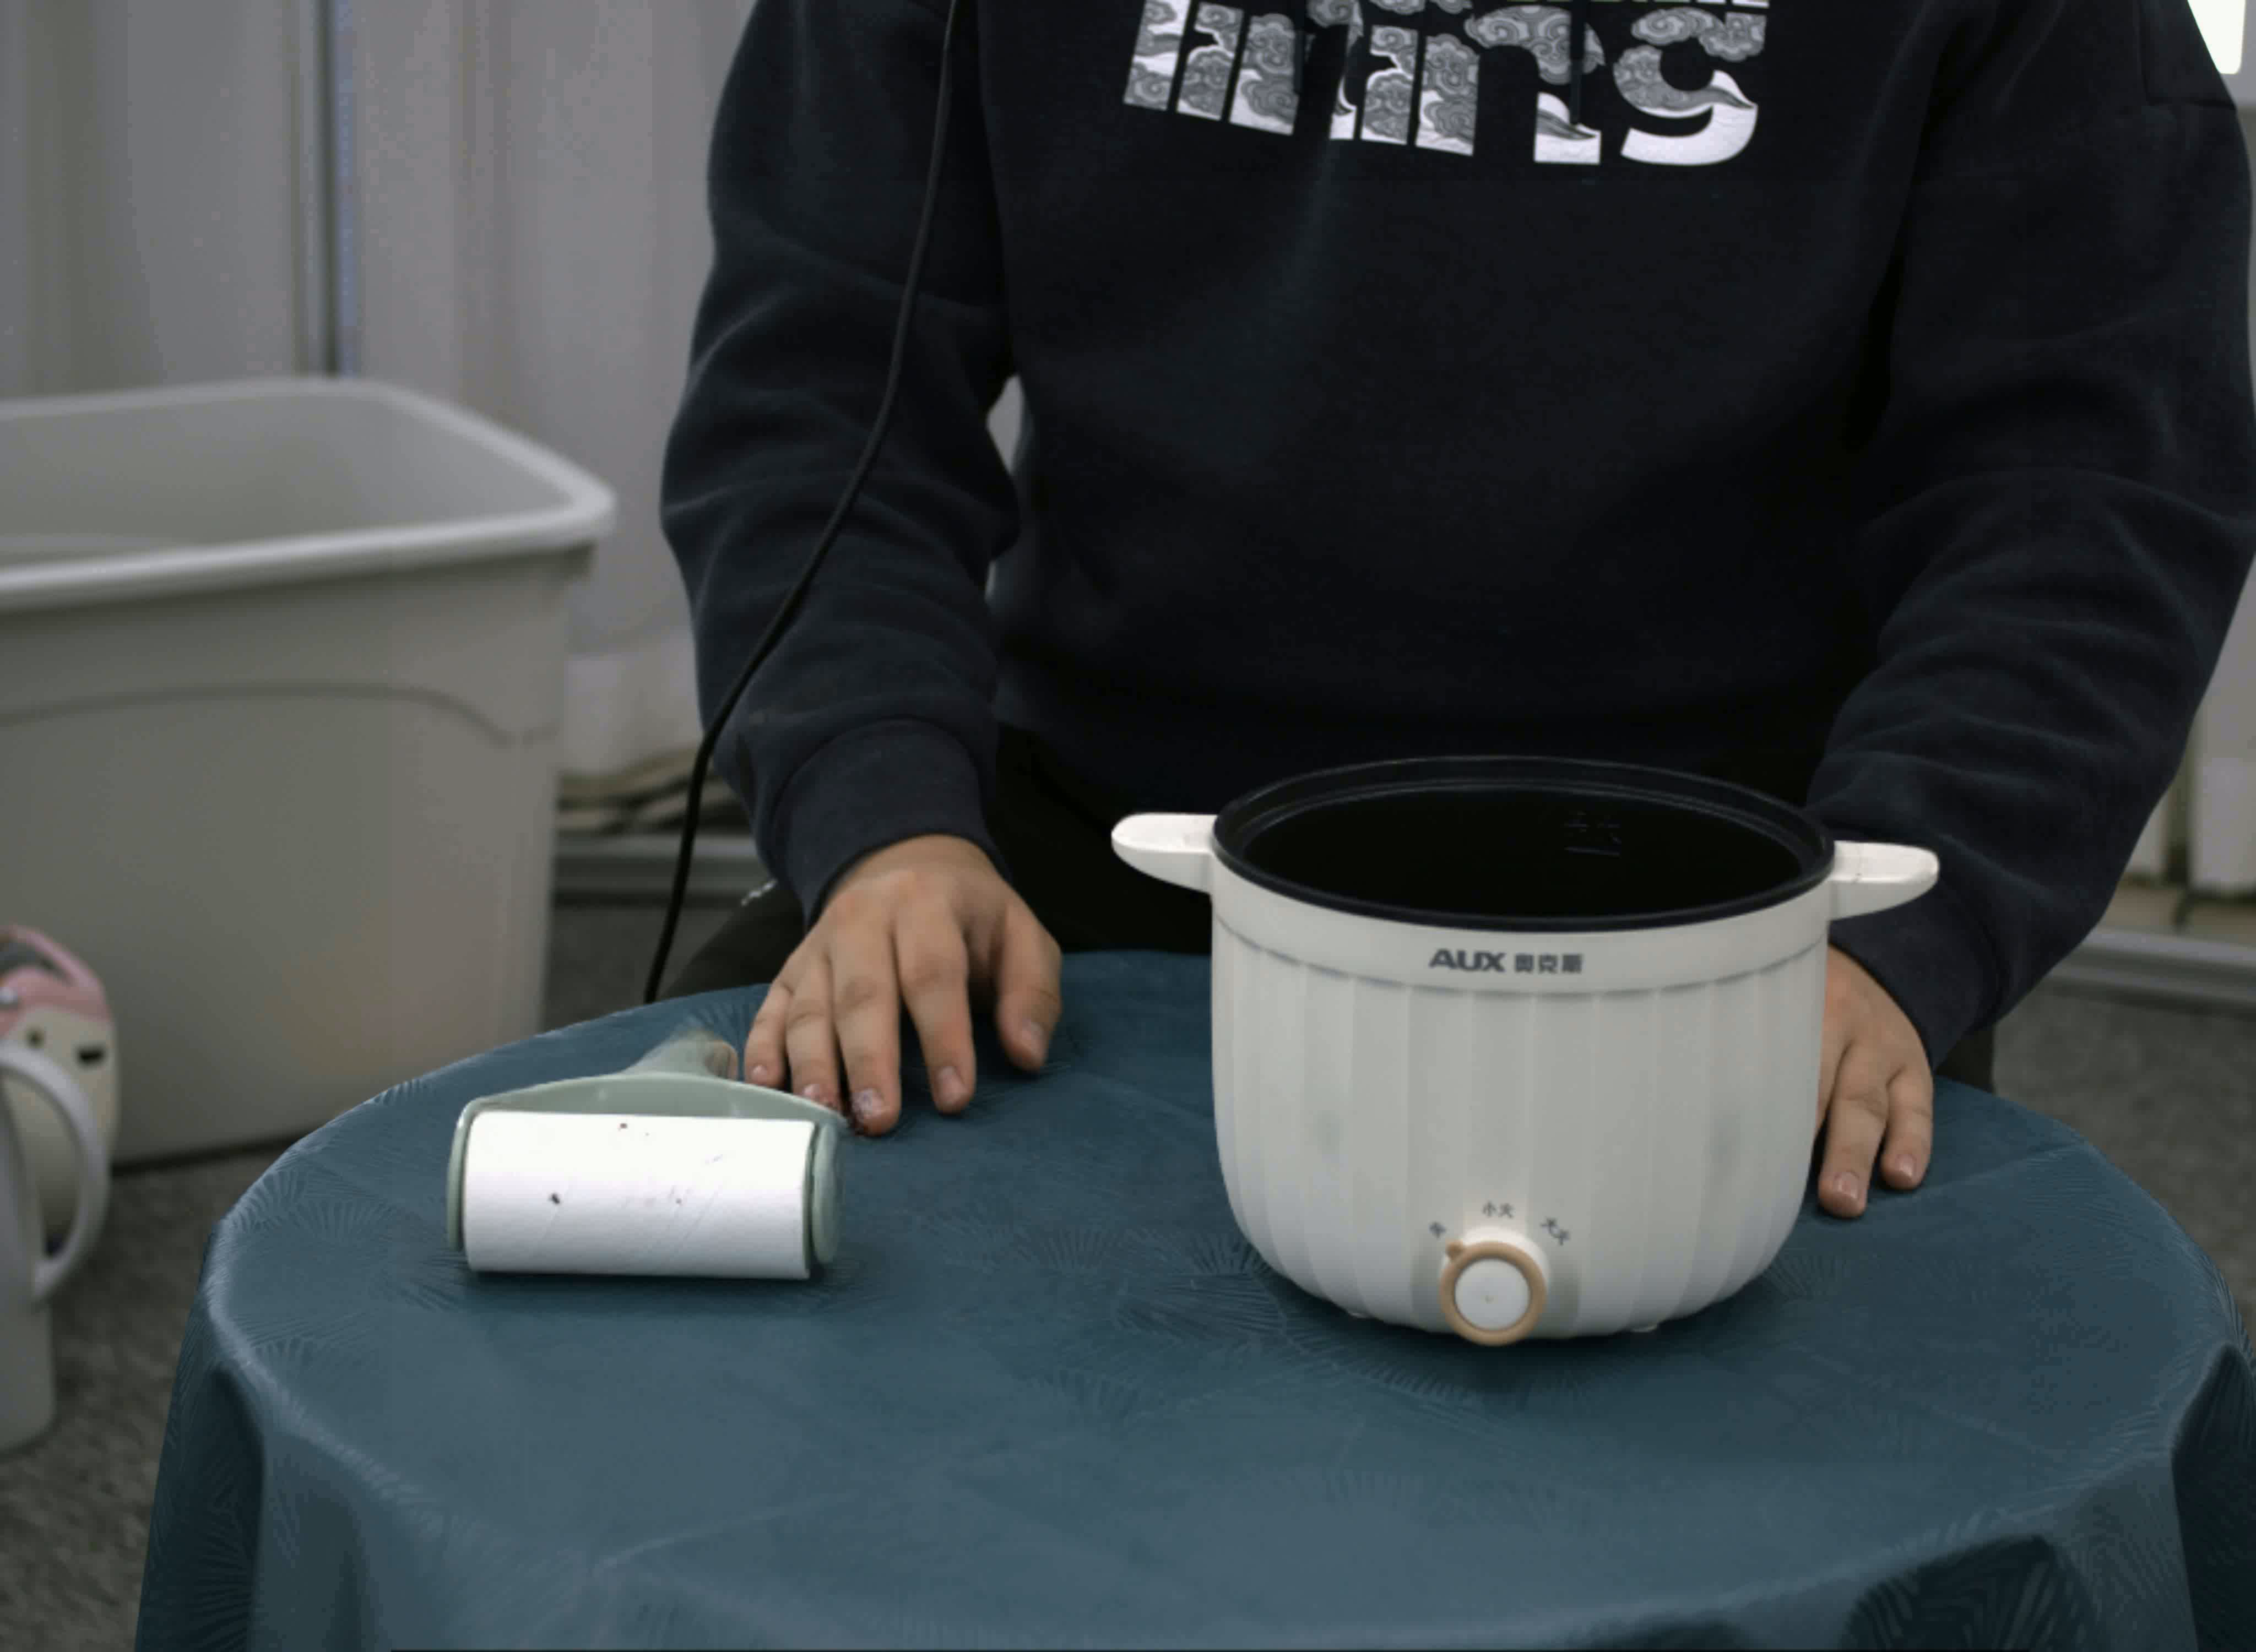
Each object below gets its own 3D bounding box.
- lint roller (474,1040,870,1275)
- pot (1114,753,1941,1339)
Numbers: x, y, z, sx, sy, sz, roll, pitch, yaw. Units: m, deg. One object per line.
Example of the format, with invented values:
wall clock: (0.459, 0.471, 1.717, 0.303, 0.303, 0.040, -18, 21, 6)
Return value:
lint roller: (-0.132, 0.092, 1.614, 0.116, 0.049, 0.197, -1, 13, 2)
pot: (0.115, 0.066, 1.538, 0.239, 0.143, 0.190, 1, 13, 6)
